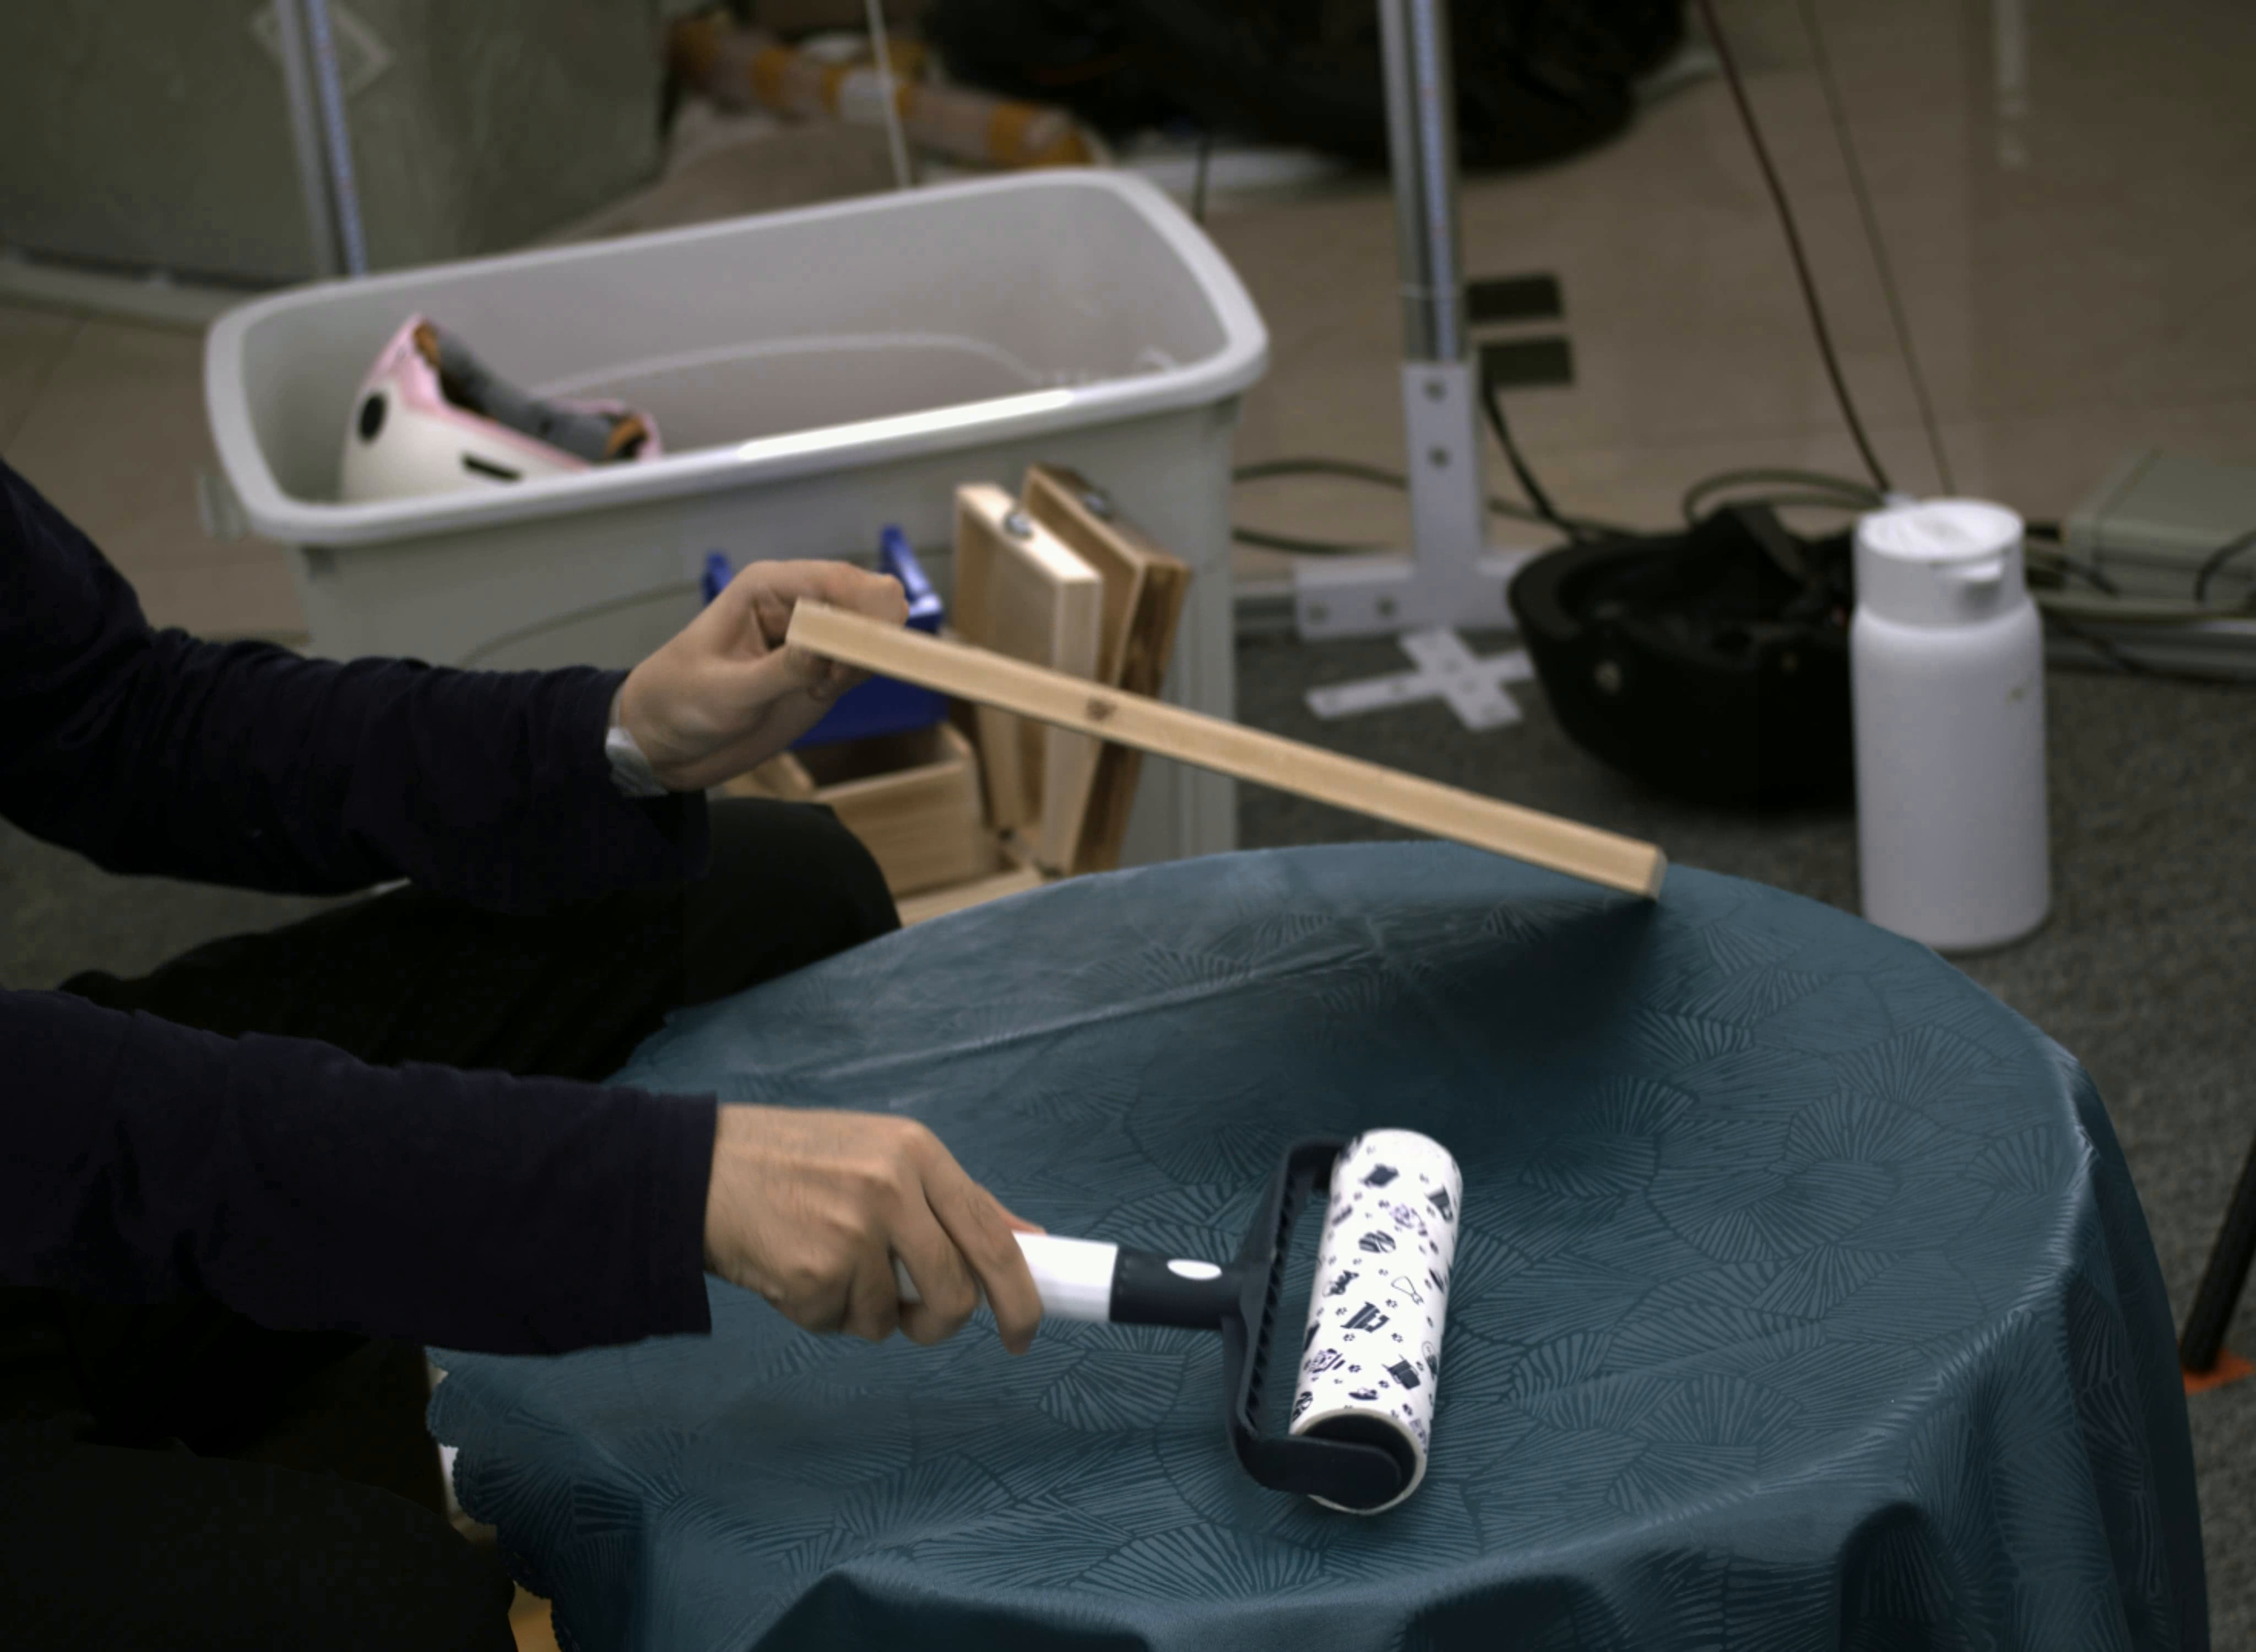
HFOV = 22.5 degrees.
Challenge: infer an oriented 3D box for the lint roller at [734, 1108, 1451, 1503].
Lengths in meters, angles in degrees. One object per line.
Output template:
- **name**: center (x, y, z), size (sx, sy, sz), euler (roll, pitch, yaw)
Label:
- **lint roller**: center (-0.016, 0.155, 1.984), size (0.246, 0.051, 0.173), euler (7, 37, 3)

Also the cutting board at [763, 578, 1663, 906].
- **cutting board**: center (0.041, -0.031, 2.231), size (0.348, 0.023, 0.251), euler (17, -1, 6)
